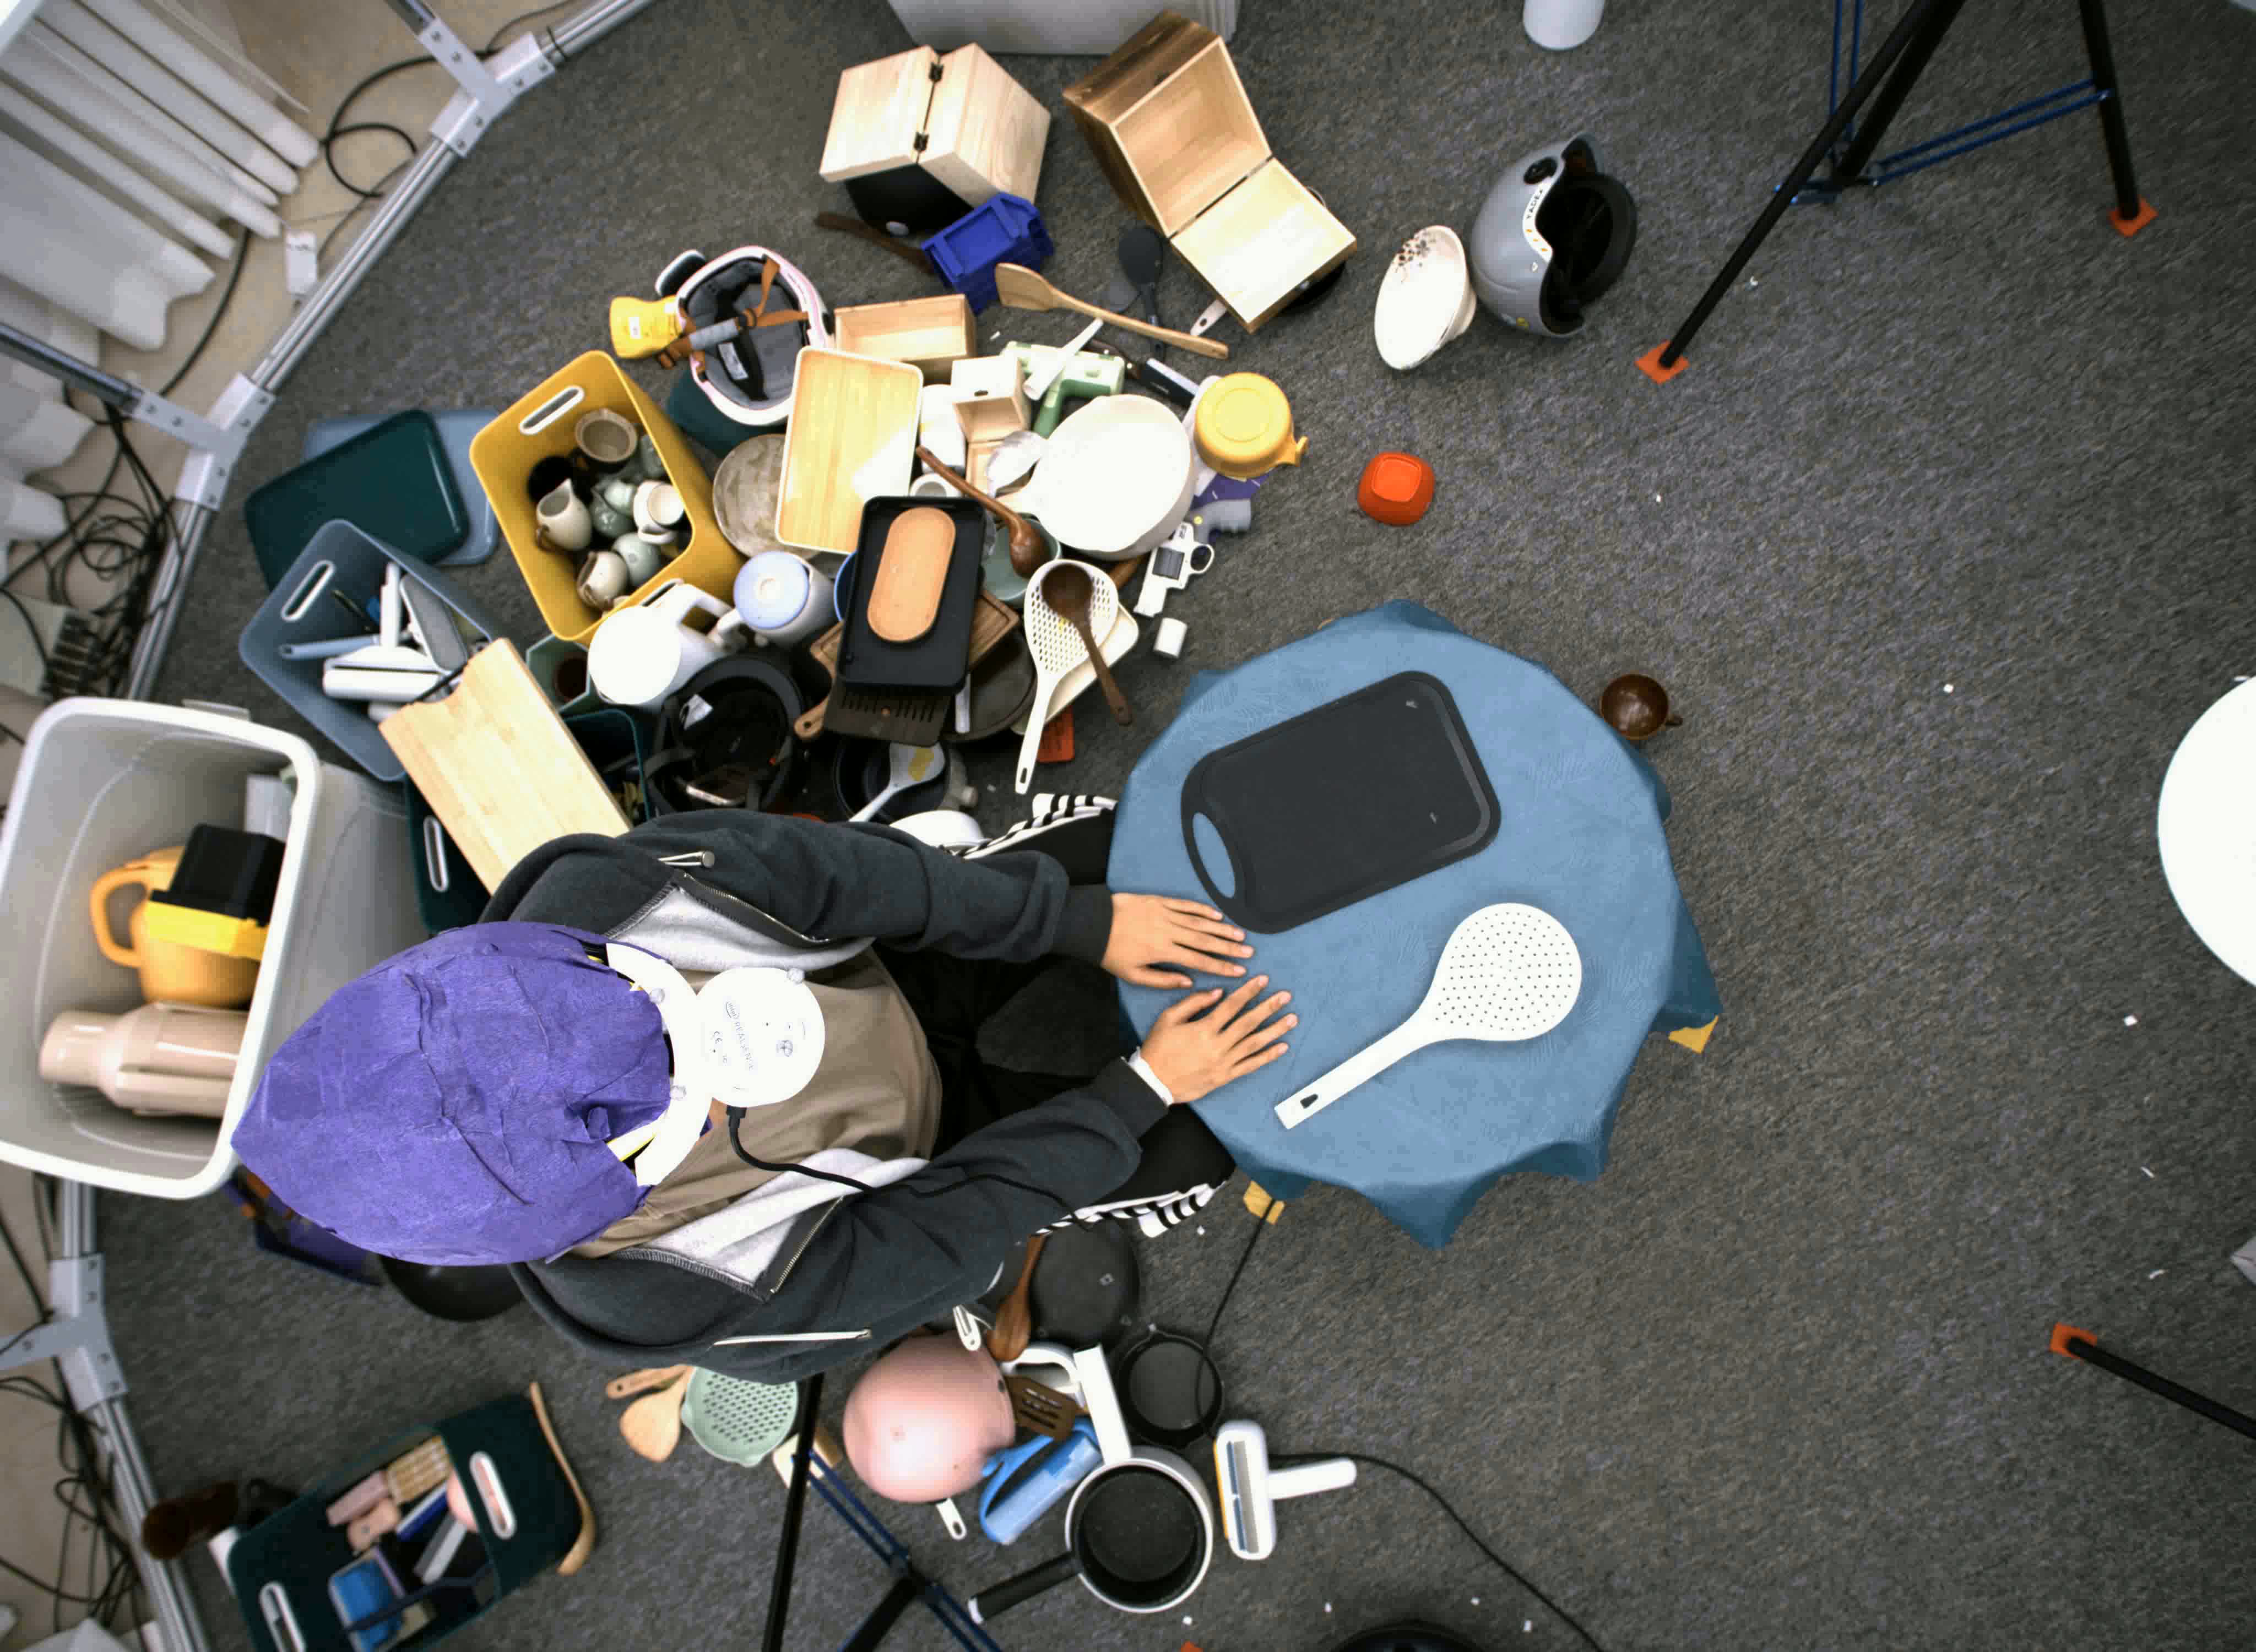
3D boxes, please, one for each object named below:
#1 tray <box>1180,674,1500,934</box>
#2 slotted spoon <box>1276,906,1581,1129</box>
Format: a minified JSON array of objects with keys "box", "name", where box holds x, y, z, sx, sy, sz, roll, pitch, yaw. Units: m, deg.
[{"box":[0.217,-0.021,1.471,0.327,0.010,0.210,-22,83,8],"name":"tray"},{"box":[0.303,0.208,1.423,0.352,0.046,0.135,-35,79,8],"name":"slotted spoon"}]
